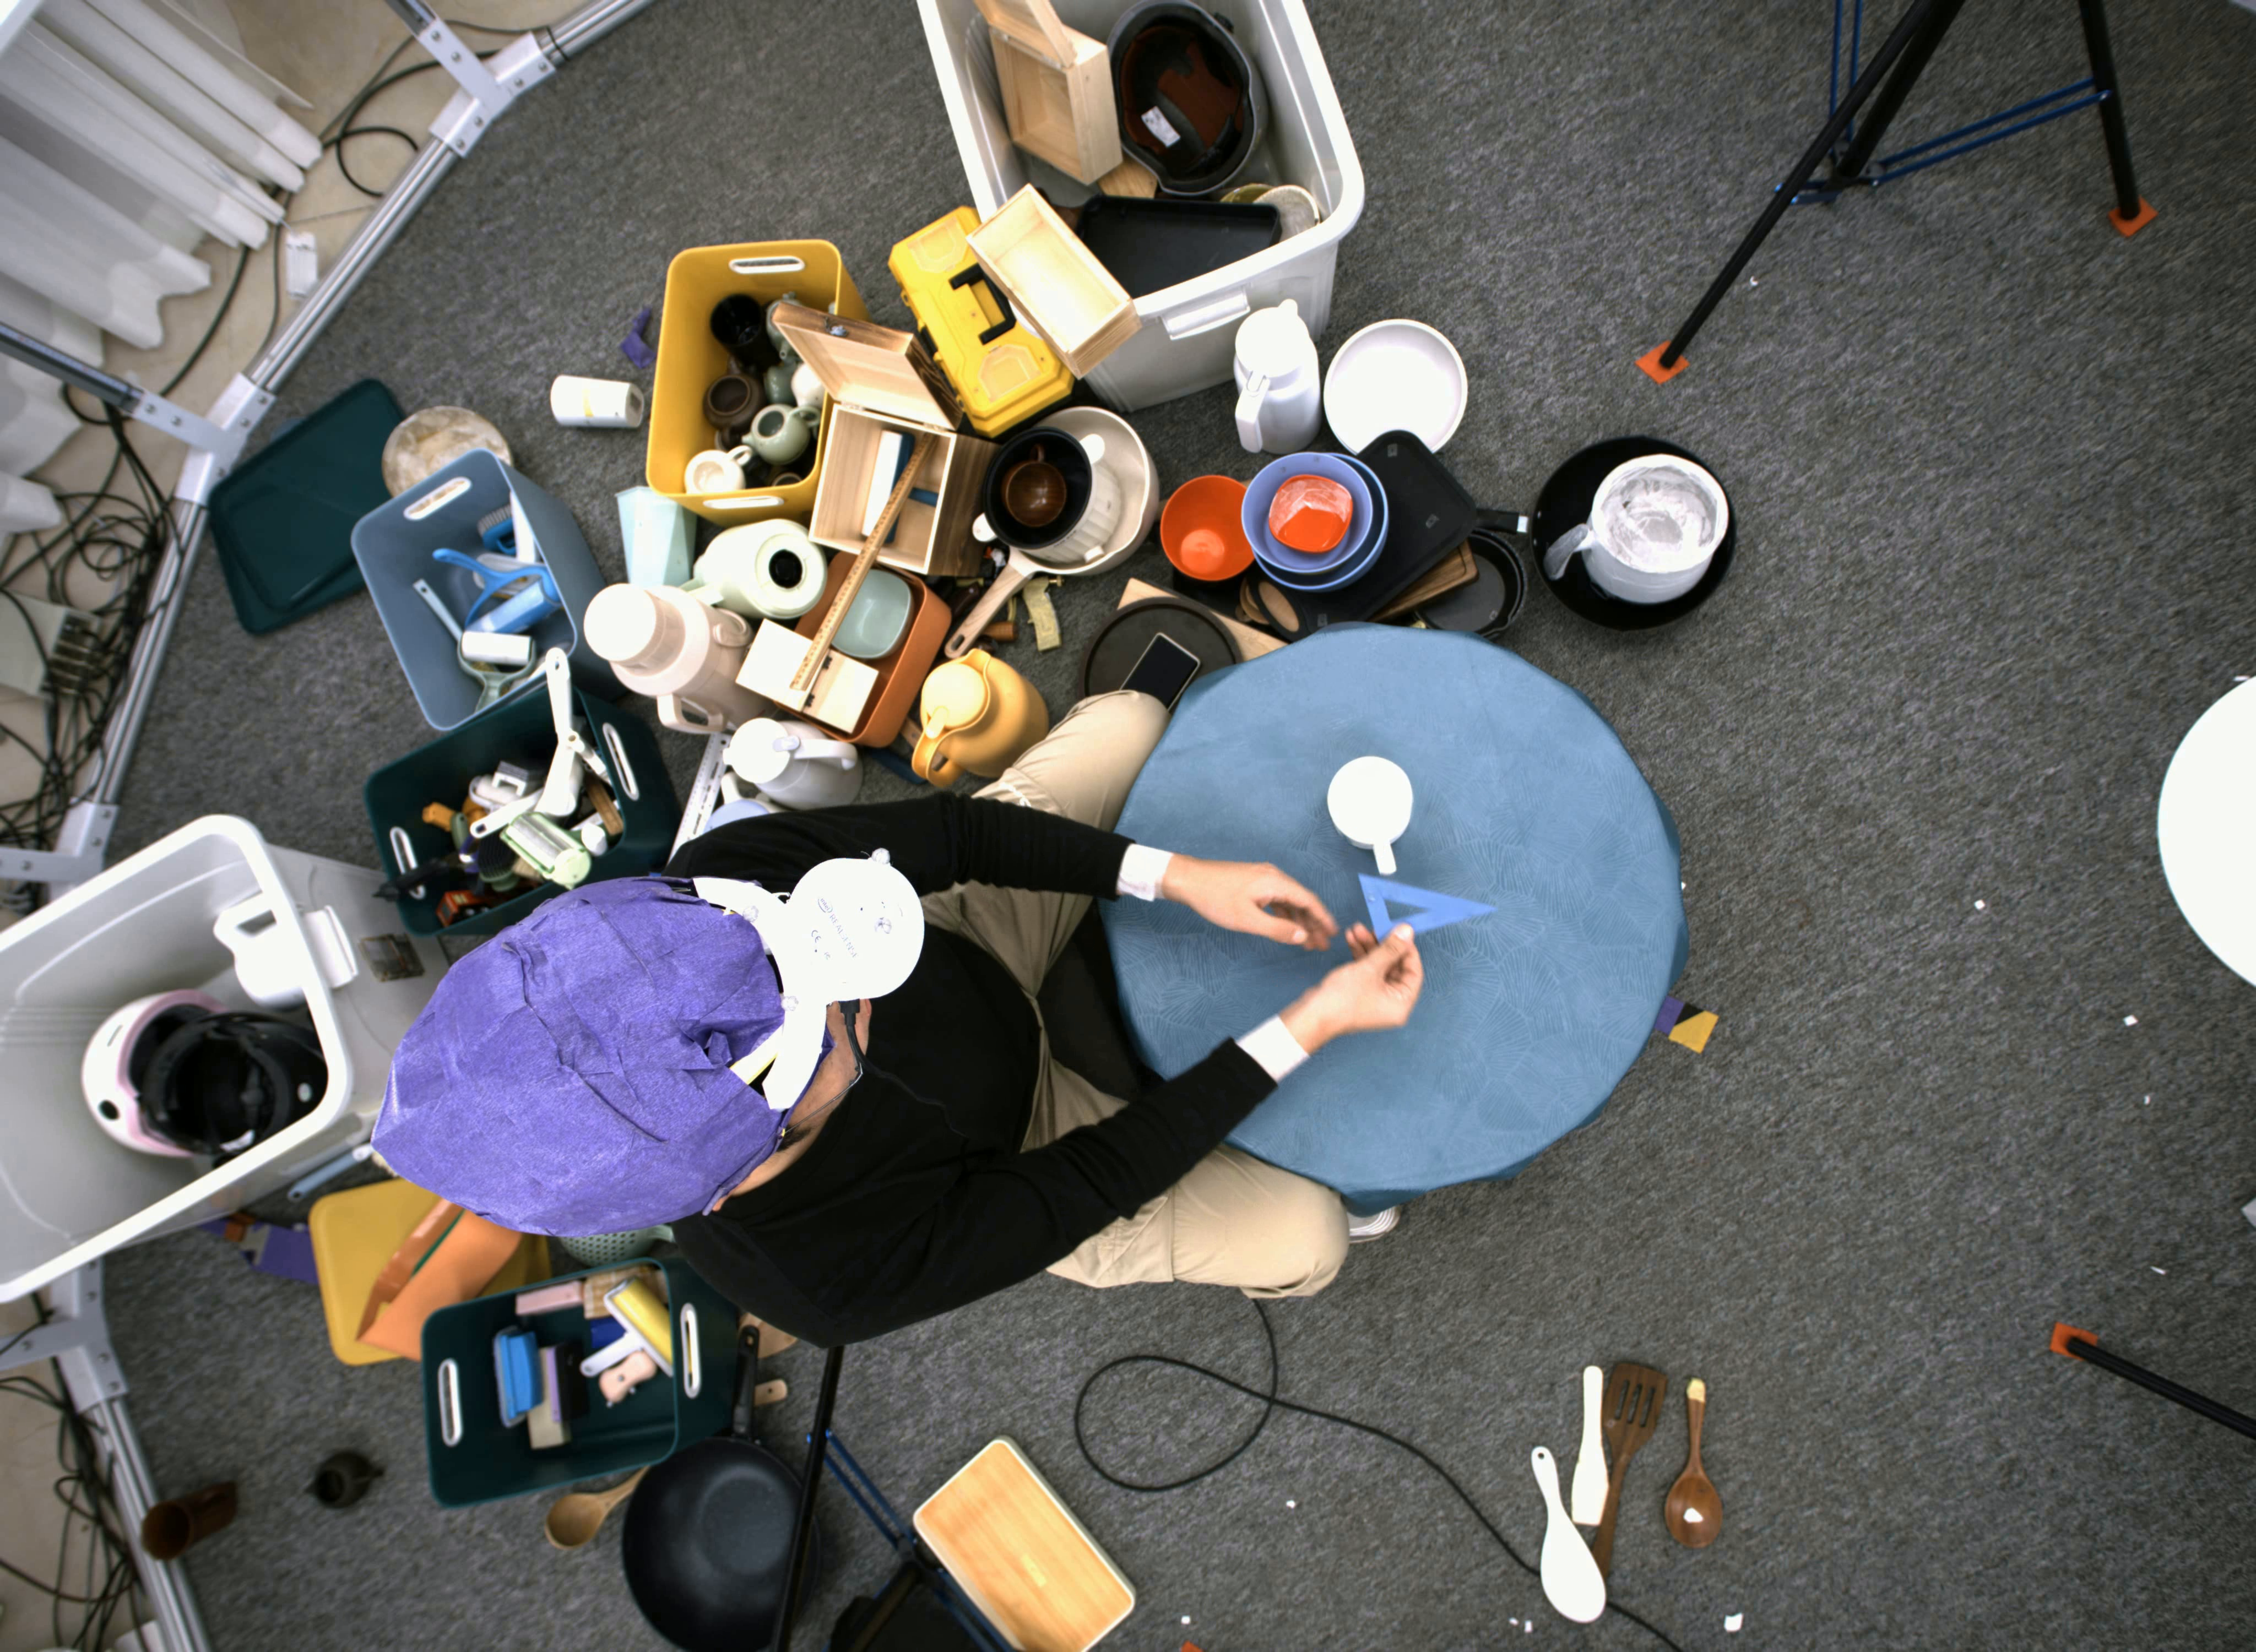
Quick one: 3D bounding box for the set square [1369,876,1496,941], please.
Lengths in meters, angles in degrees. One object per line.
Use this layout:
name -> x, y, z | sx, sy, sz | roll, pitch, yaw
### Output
set square -> 0.289, 0.094, 1.346 | 0.132, 0.006, 0.061 | 18, 95, 5

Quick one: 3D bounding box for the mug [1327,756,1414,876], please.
mug -> 0.252, -0.008, 1.416 | 0.085, 0.102, 0.117 | -14, 83, 8
